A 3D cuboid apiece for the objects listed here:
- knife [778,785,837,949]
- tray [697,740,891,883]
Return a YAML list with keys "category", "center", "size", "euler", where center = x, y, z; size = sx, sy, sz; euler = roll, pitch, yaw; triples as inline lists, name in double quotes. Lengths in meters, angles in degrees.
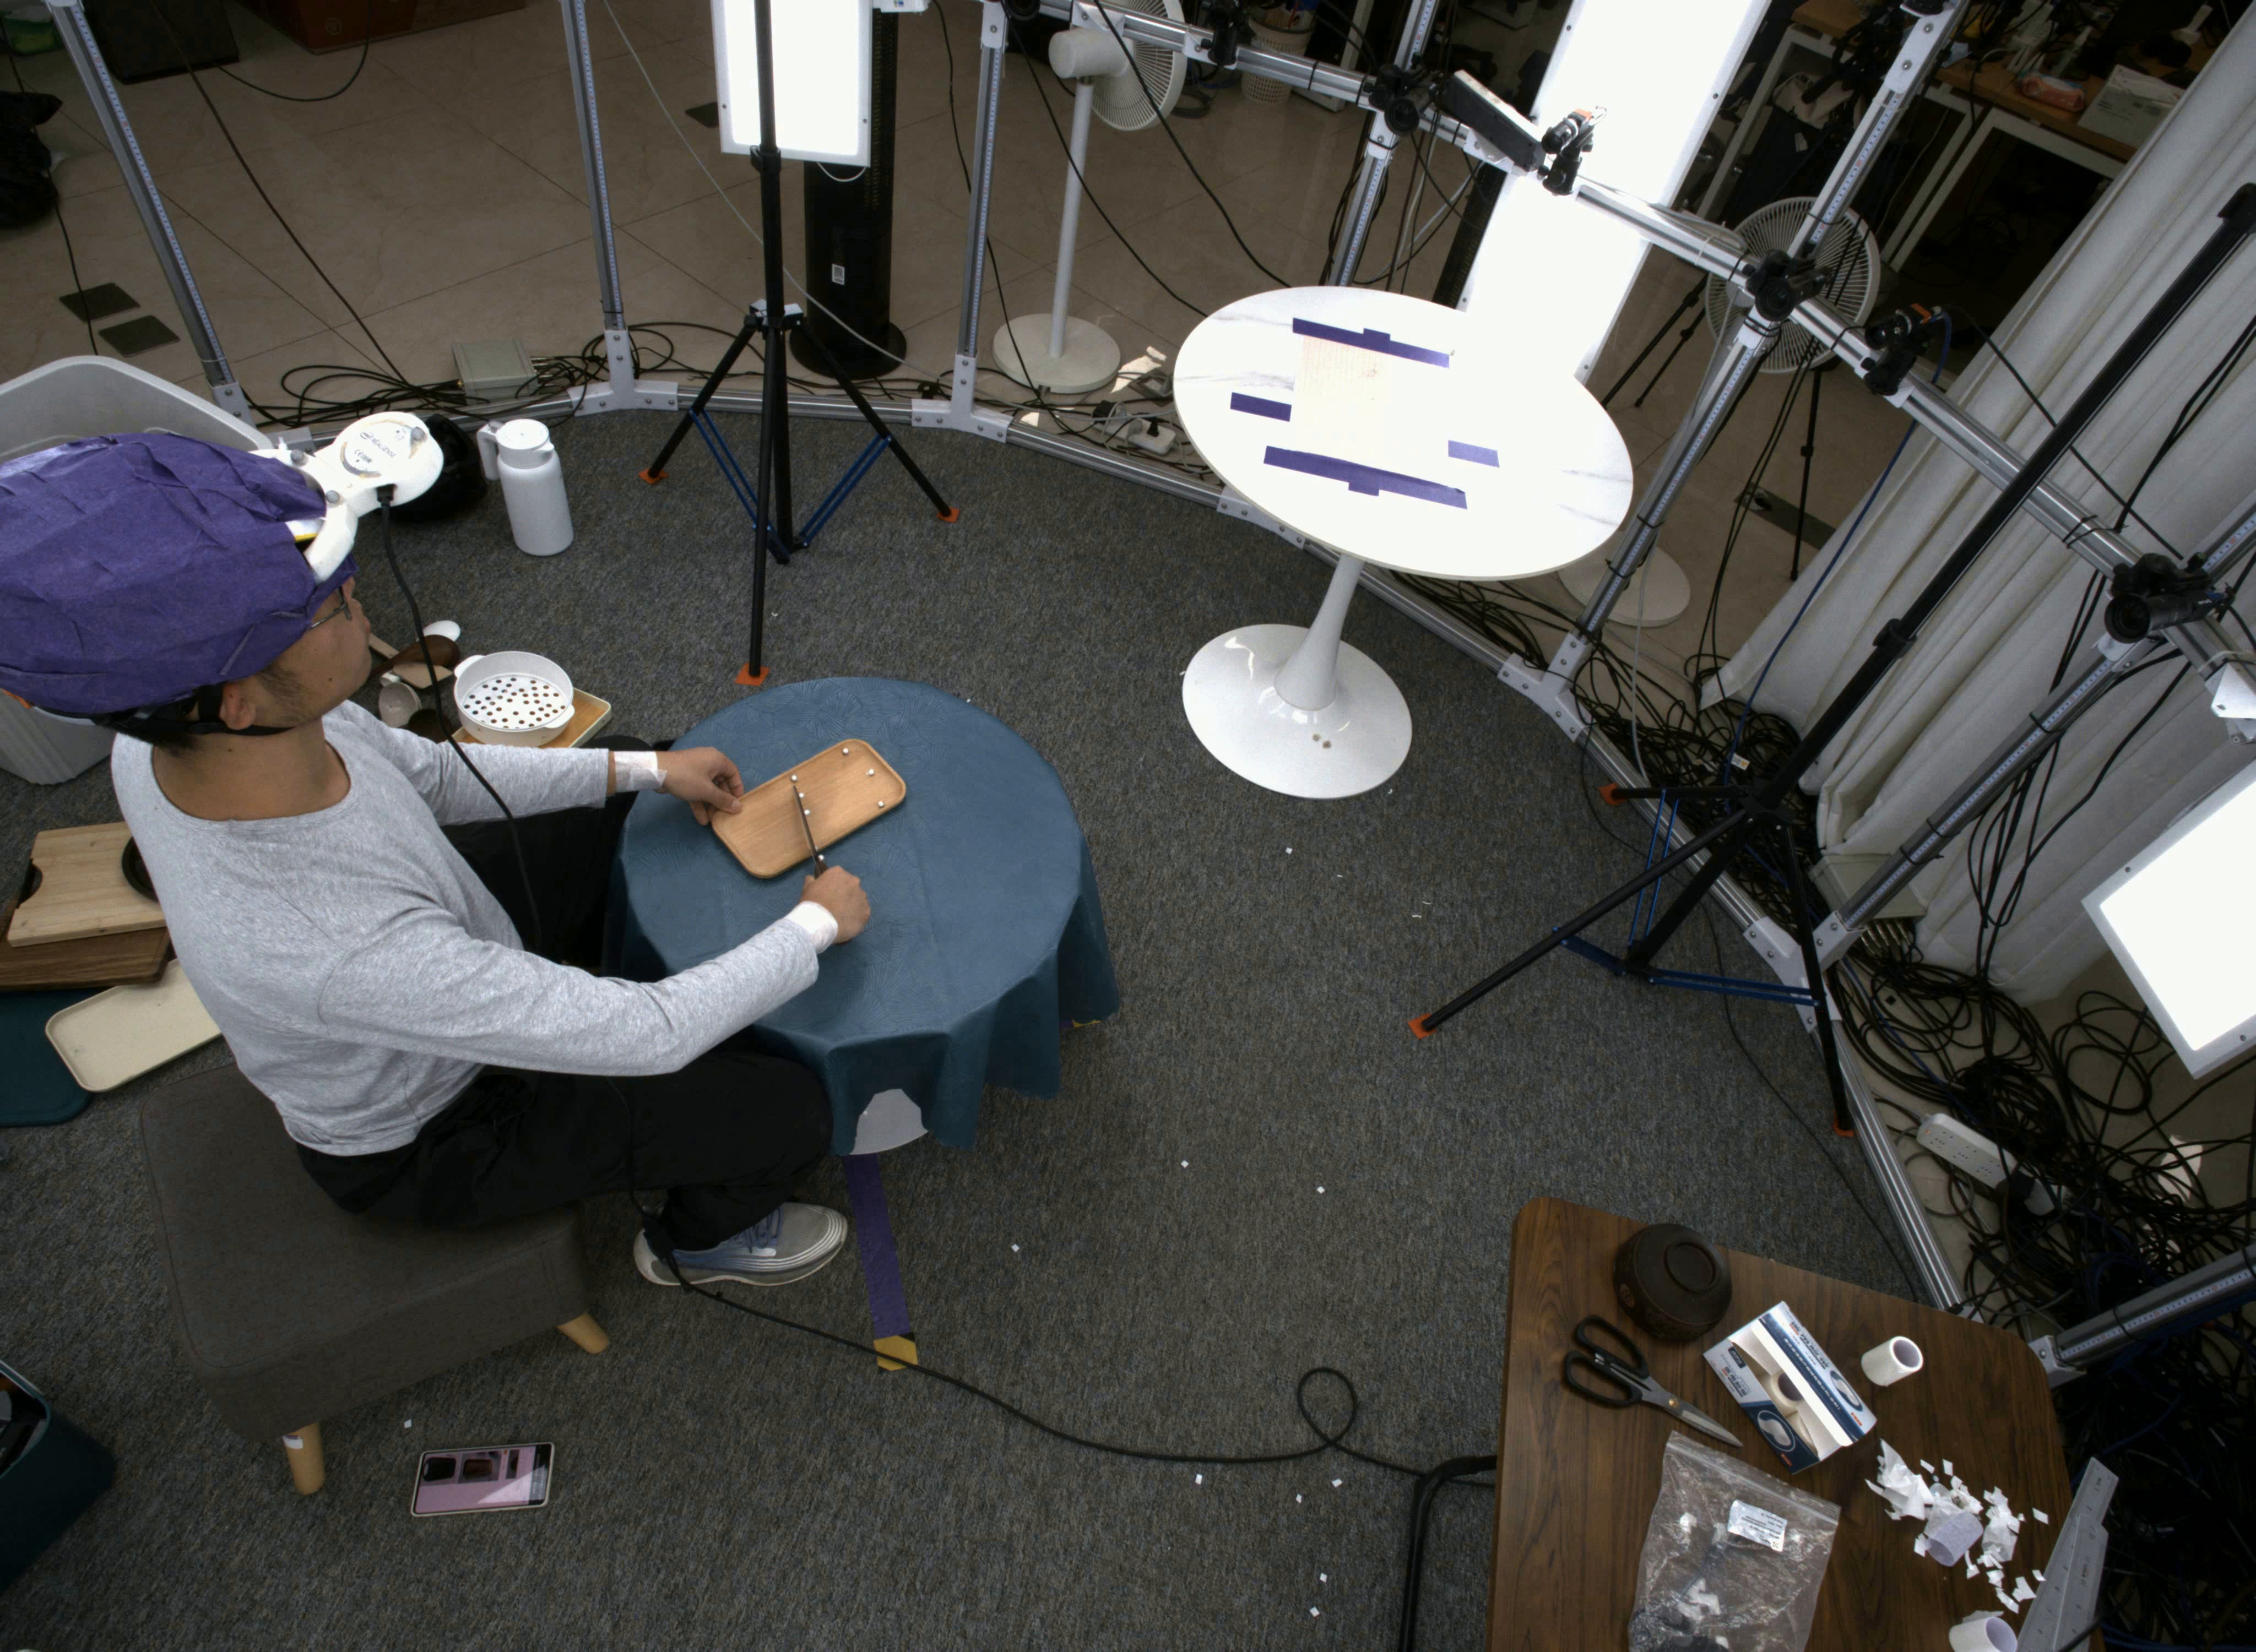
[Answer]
- category: "knife"
  center: [-0.414, 0.045, 1.651]
  size: [0.020, 0.051, 0.280]
  euler: [-14, 51, -20]
- category: "tray"
  center: [-0.444, -0.023, 1.733]
  size: [0.251, 0.023, 0.128]
  euler: [-34, 69, -32]
